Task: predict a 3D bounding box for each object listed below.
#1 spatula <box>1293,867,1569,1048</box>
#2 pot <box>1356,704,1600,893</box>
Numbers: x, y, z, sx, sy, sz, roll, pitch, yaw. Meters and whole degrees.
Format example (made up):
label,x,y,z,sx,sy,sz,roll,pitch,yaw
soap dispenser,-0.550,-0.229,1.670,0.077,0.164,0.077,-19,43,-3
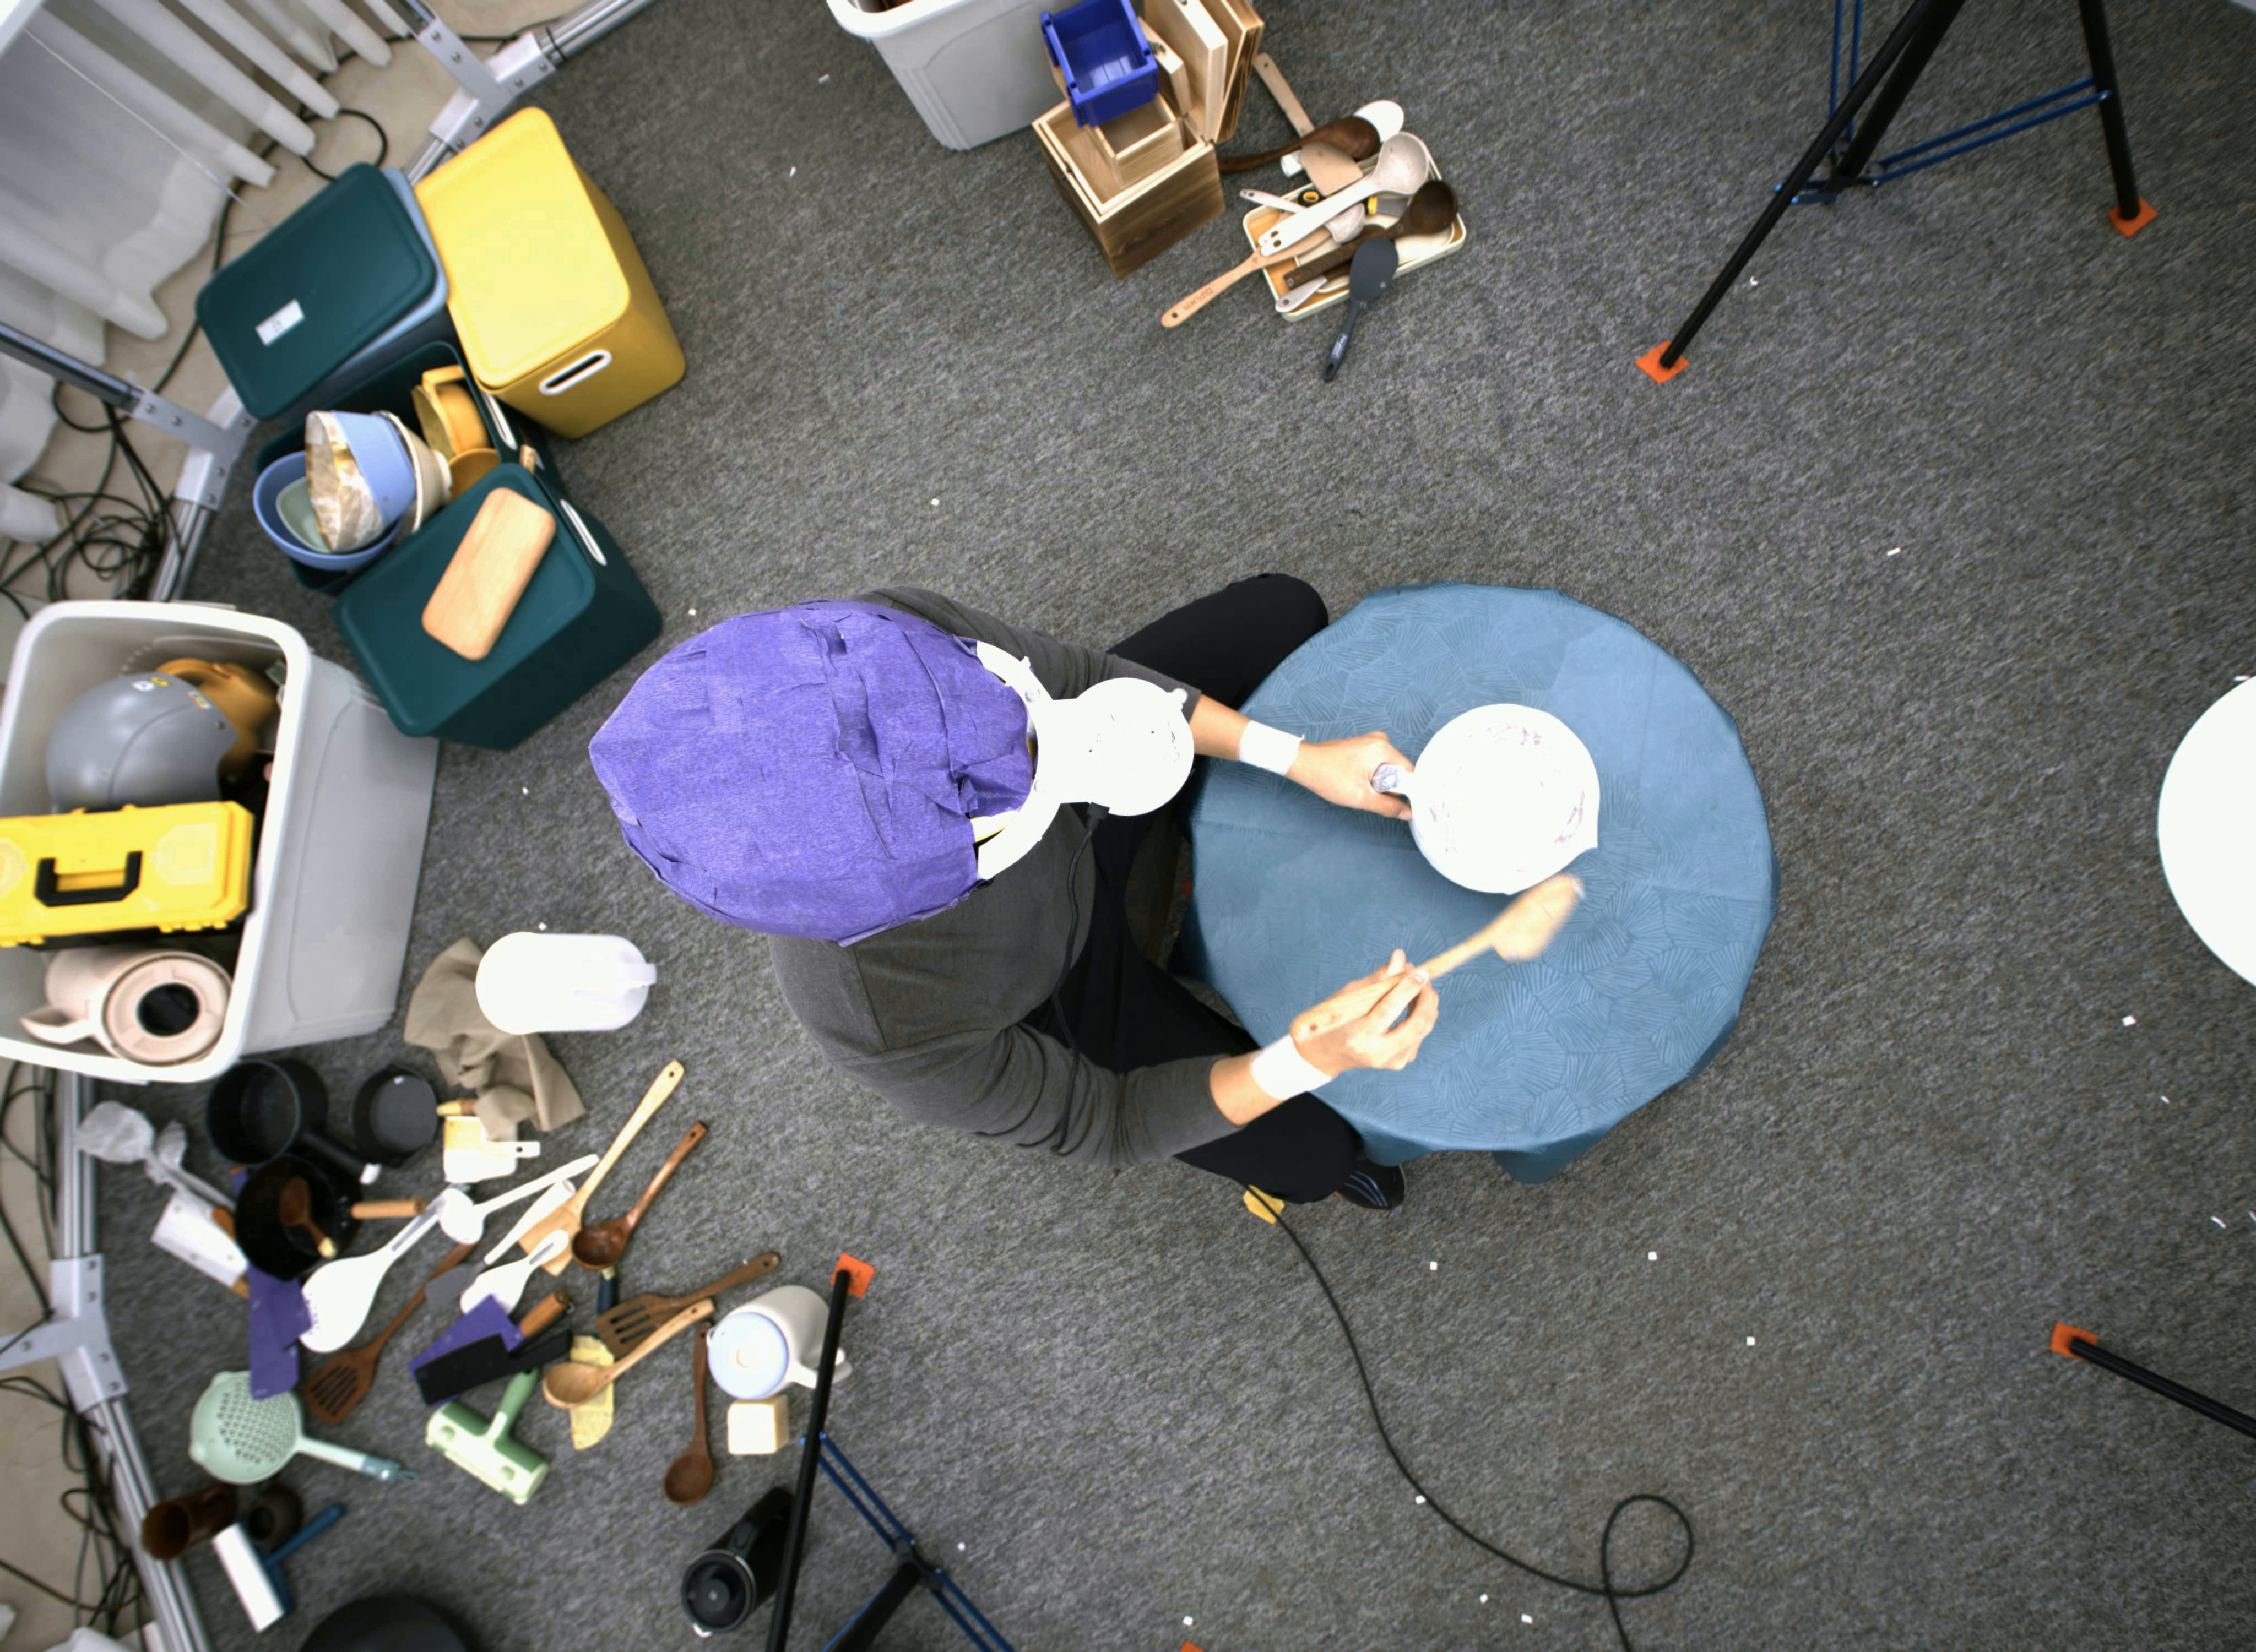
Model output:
label,x,y,z,sx,sy,sz,roll,pitch,yaw
spatula,0.255,0.111,1.134,0.018,0.384,0.098,40,129,28
pot,0.345,-0.029,1.382,0.234,0.137,0.178,9,87,11
